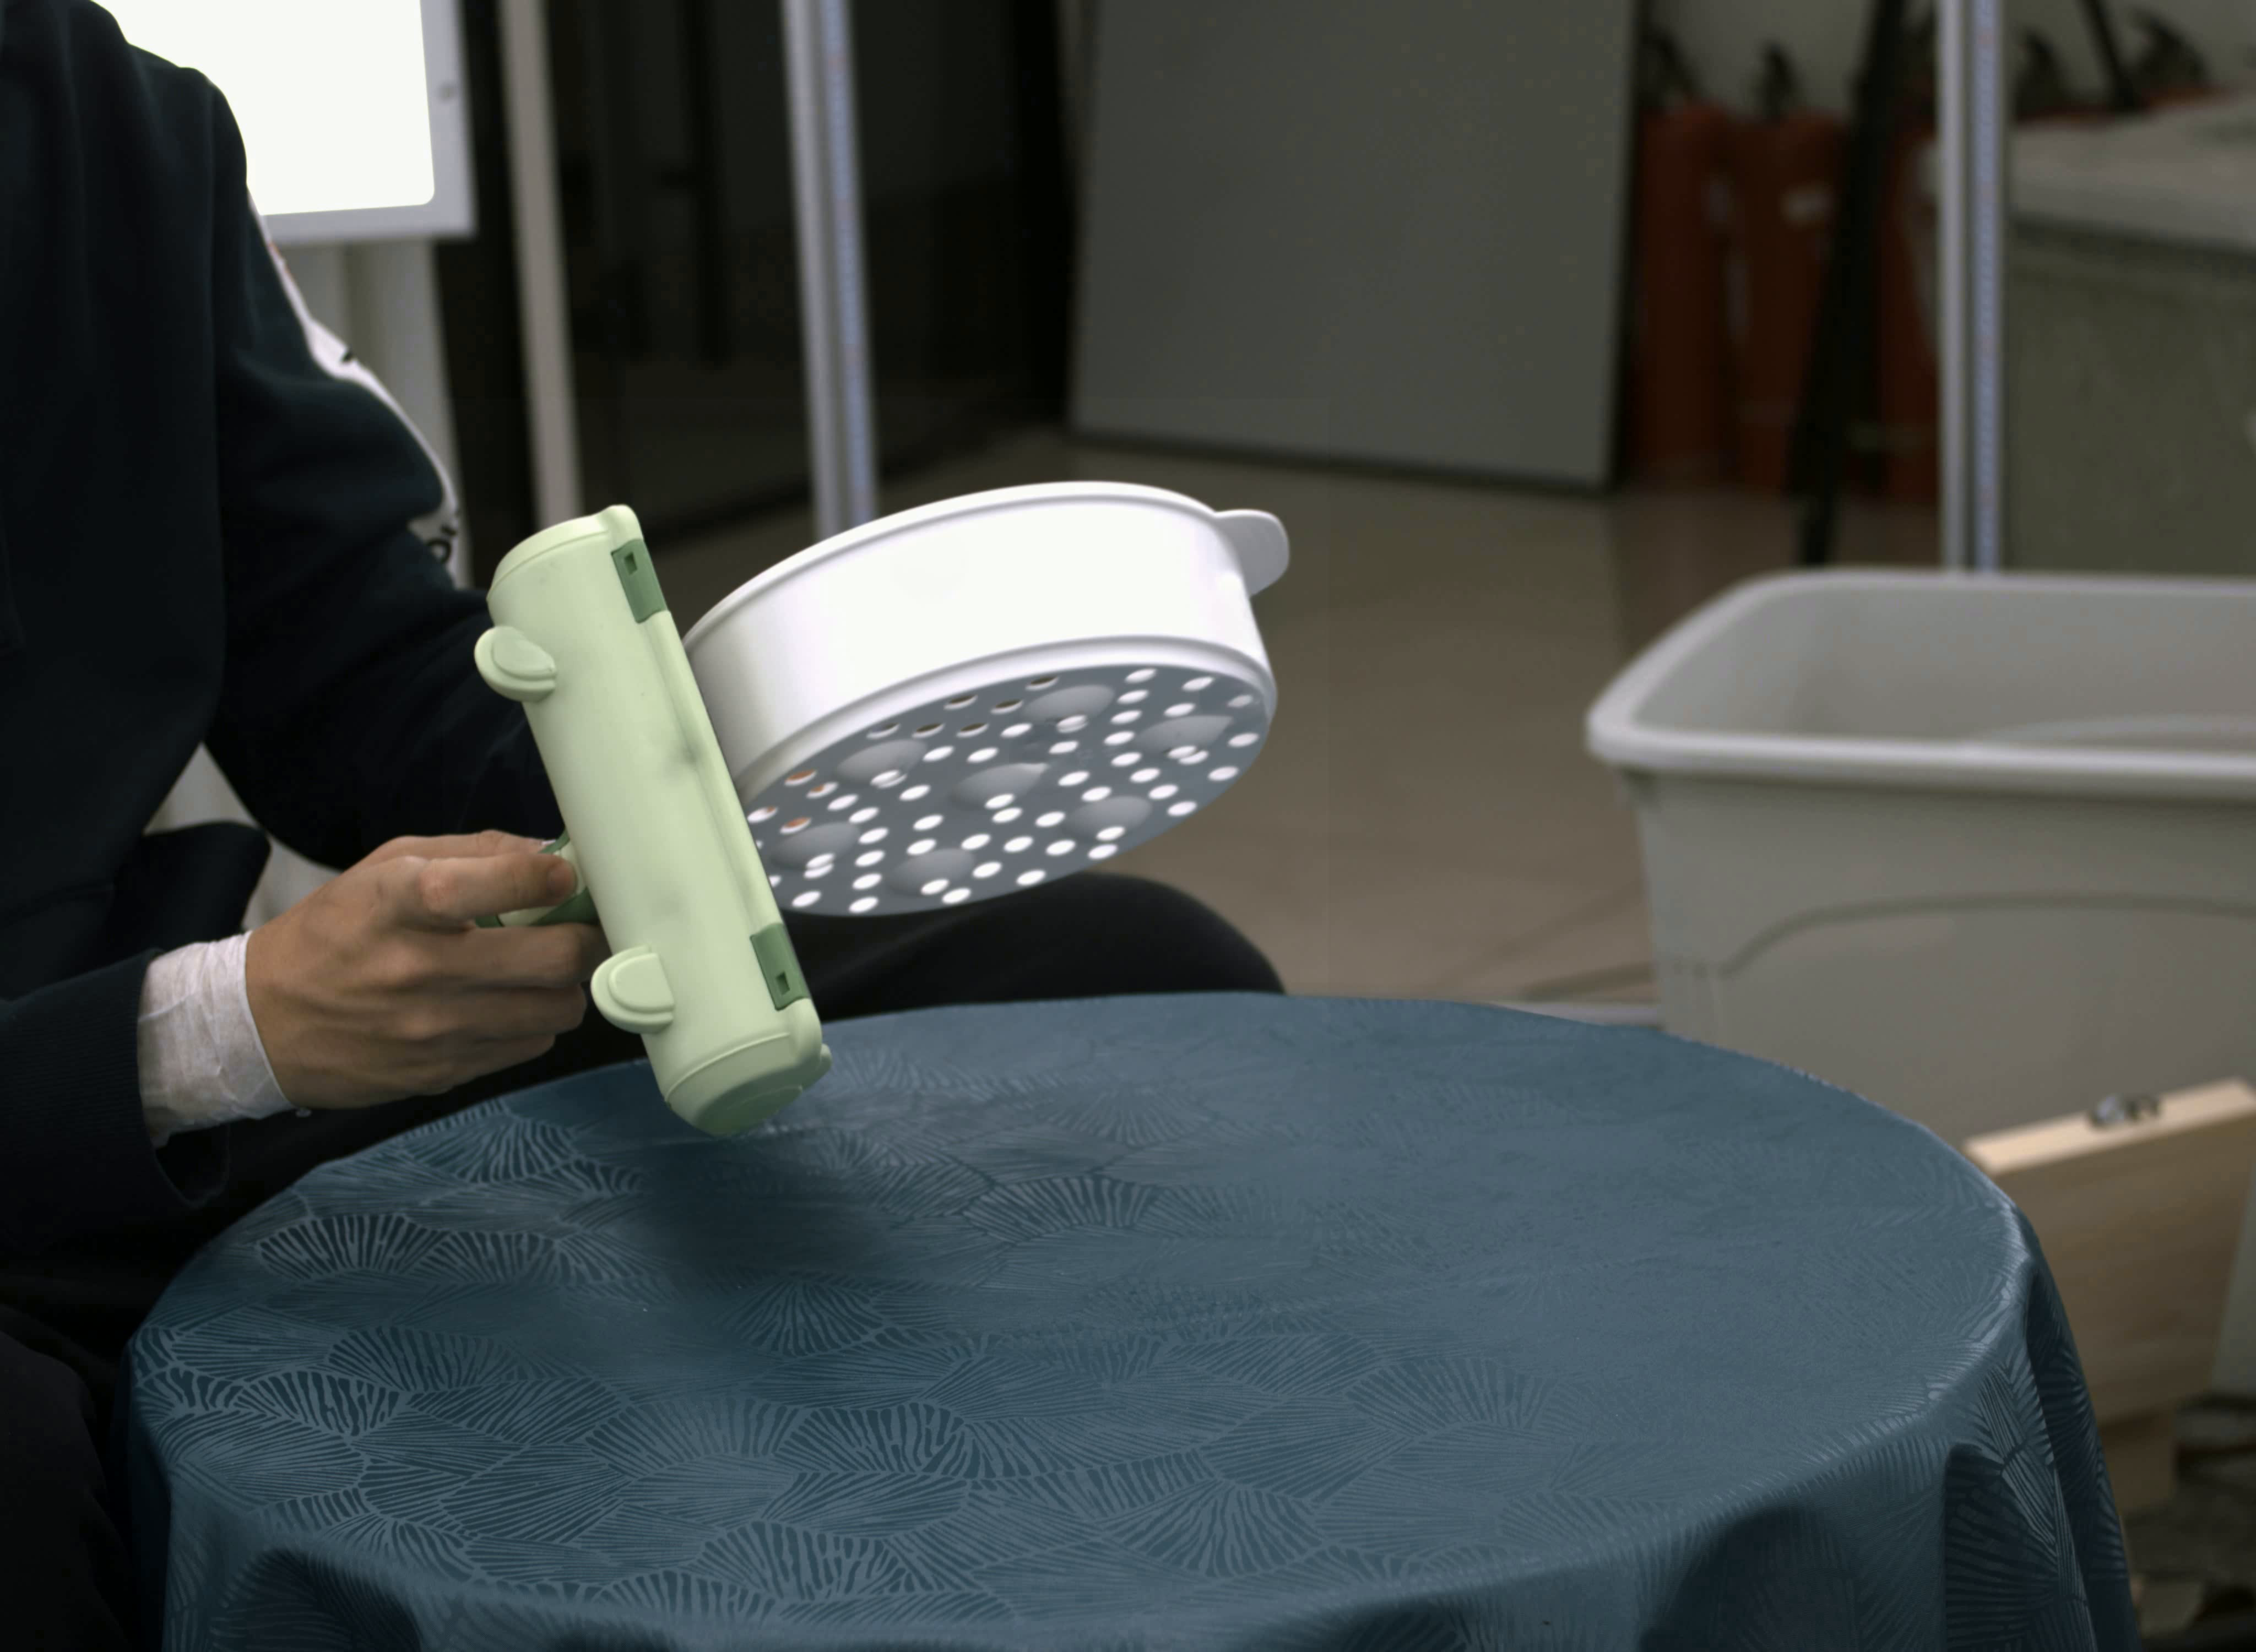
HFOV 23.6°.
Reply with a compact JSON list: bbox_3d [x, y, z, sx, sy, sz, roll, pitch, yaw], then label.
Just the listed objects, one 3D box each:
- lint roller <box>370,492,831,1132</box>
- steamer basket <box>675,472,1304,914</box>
[{"bbox_3d":[-0.191,0.022,1.700,0.184,0.201,0.080,-32,-21,28],"label":"lint roller"},{"bbox_3d":[-0.046,-0.038,1.754,0.228,0.070,0.201,-15,-21,2],"label":"steamer basket"}]
